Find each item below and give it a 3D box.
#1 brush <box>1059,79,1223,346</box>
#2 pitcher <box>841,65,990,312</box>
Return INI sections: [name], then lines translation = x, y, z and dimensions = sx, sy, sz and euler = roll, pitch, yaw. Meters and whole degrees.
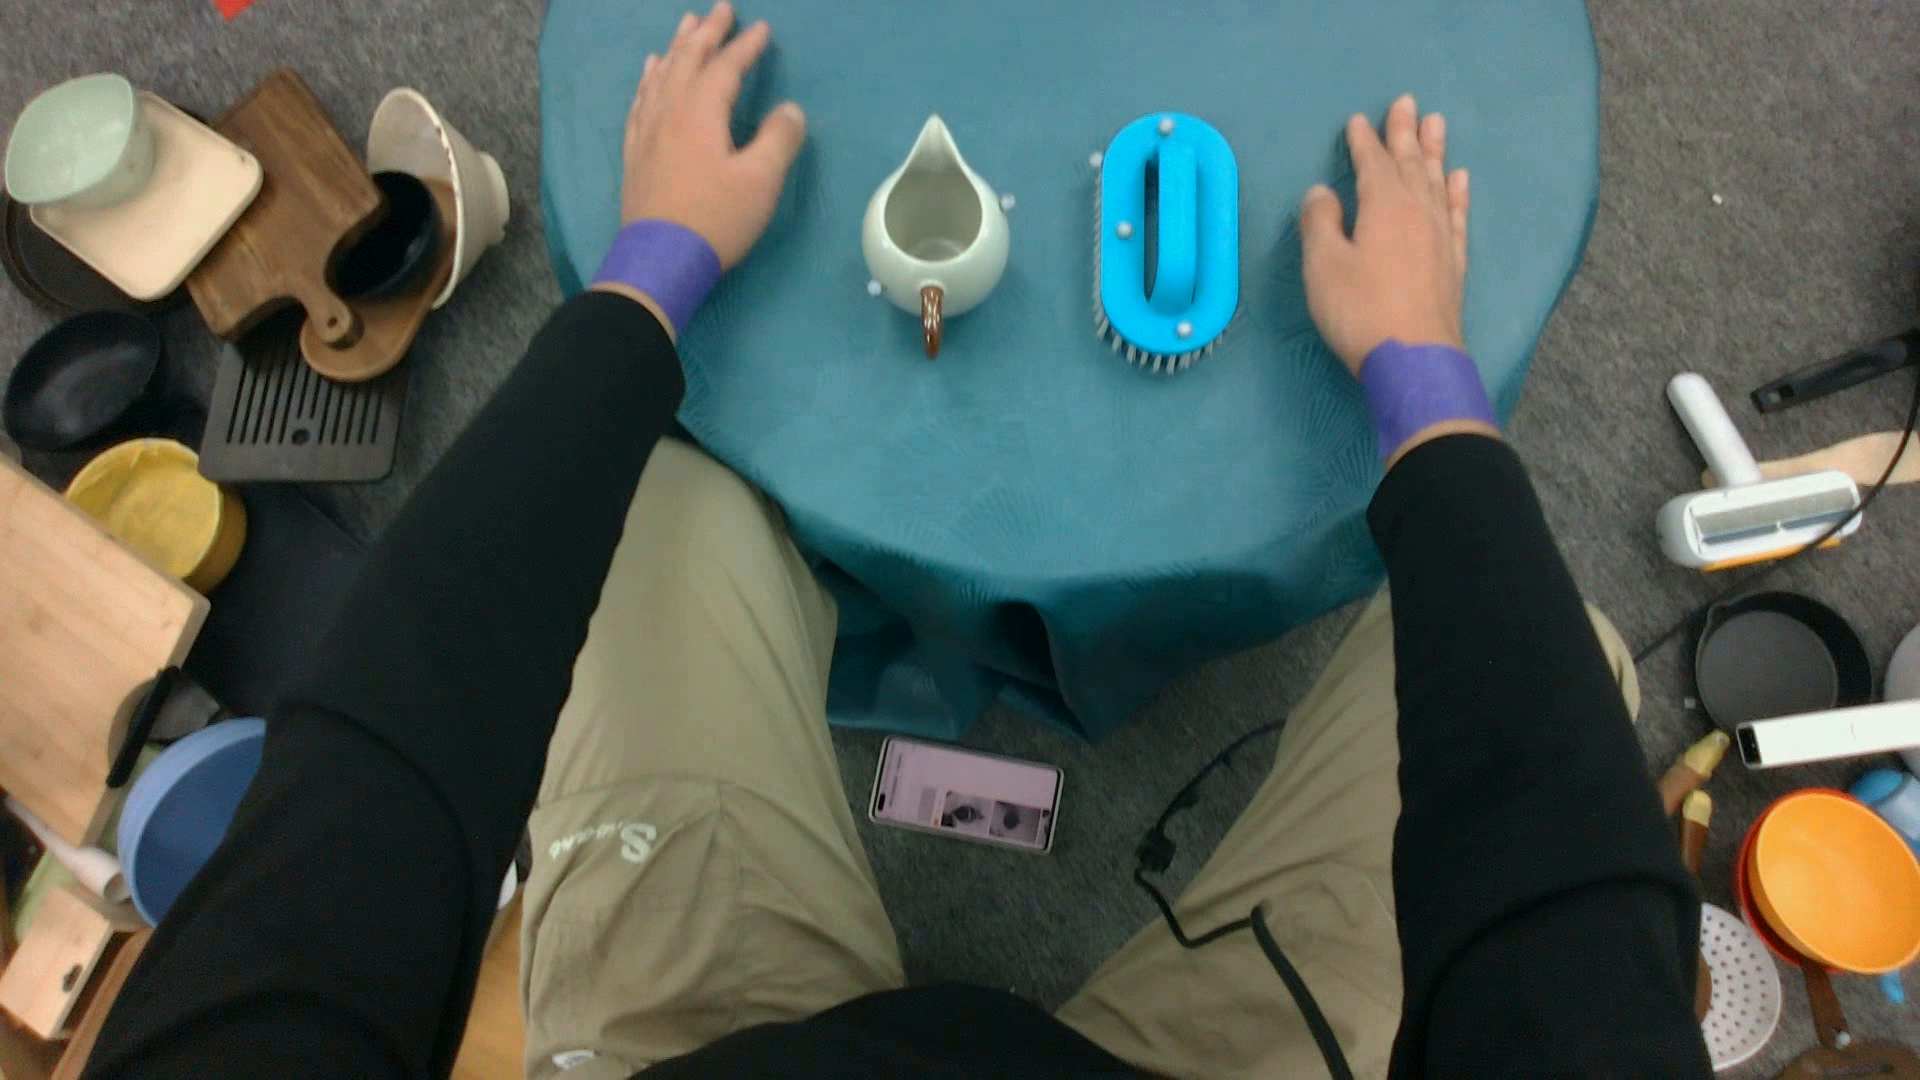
[brush]
translation = 0.098, -0.178, 0.724
dimensions = 0.084, 0.063, 0.142
euler = 3, 80, -4
[pitcher]
translation = -0.023, -0.168, 0.710
dimensions = 0.076, 0.087, 0.119
euler = 4, 75, 6
